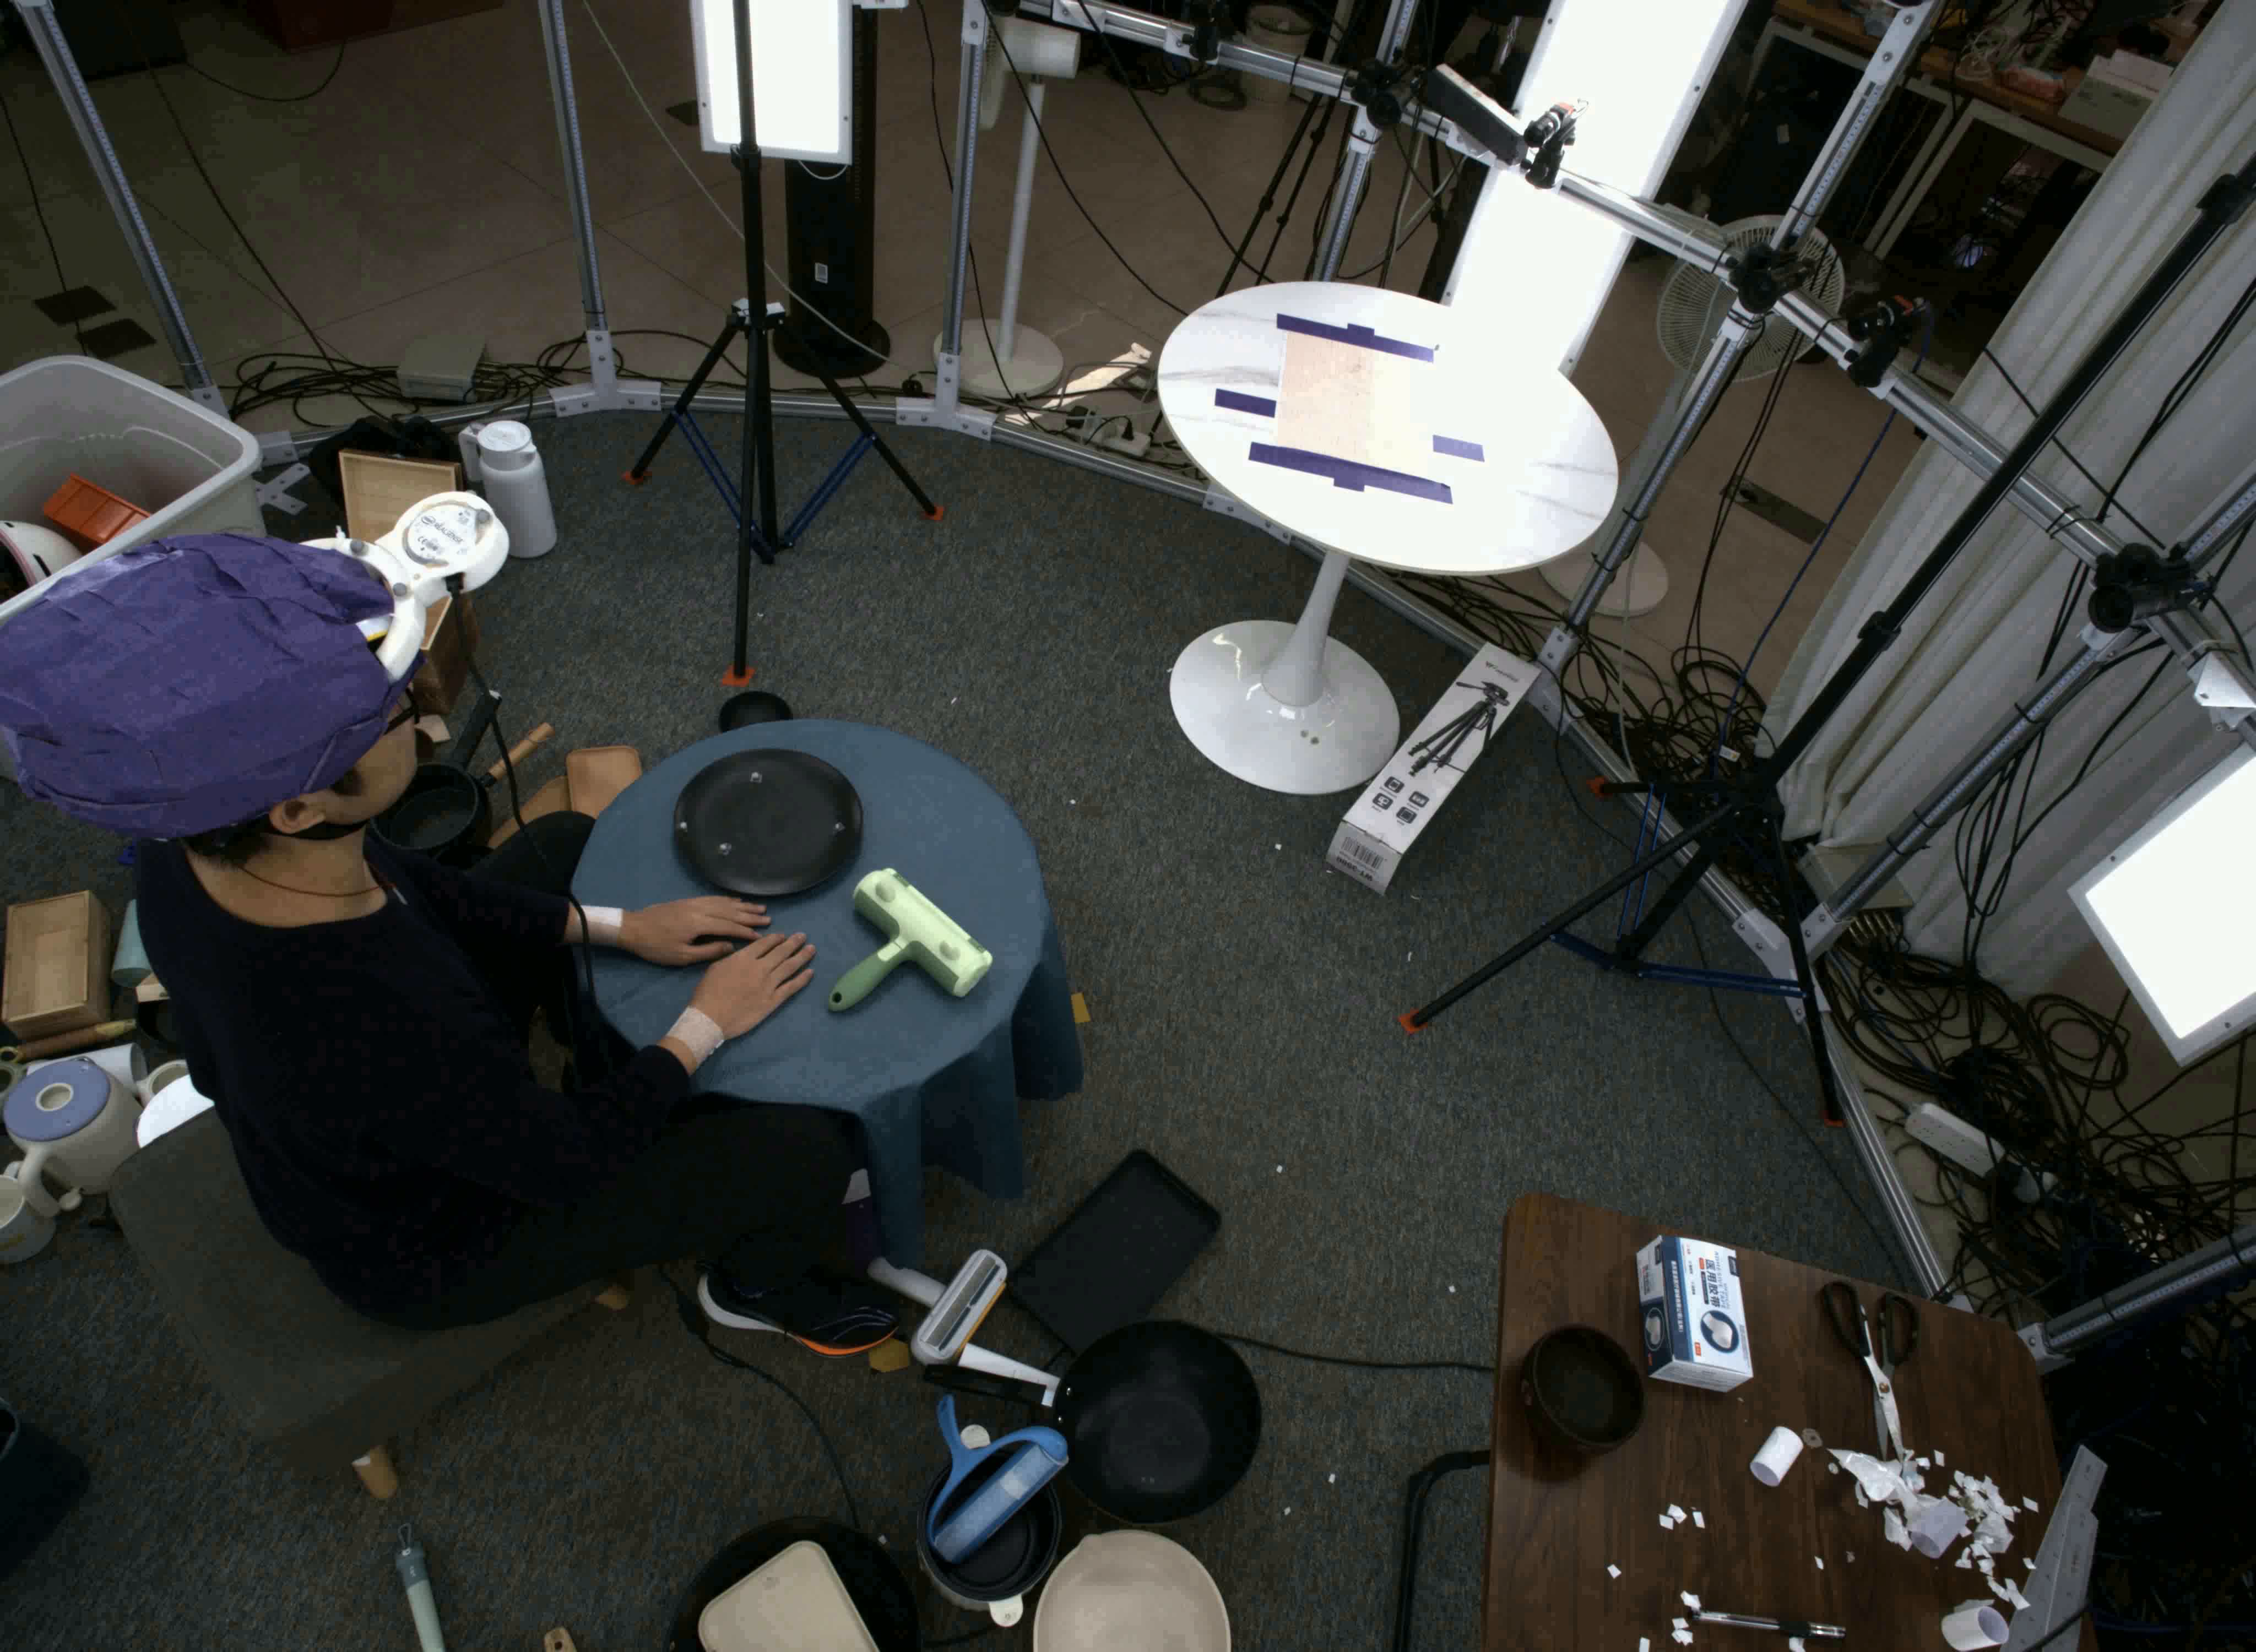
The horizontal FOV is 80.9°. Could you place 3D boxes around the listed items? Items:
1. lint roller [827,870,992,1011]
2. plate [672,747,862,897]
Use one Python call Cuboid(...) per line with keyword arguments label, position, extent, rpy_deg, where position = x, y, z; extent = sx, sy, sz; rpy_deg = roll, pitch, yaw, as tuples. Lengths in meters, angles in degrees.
Cuboid(label="lint roller", position=(-0.294, 0.150, 1.580), extent=(0.194, 0.084, 0.184), rpy_deg=(38, 47, 16))
Cuboid(label="plate", position=(-0.470, -0.005, 1.690), extent=(0.244, 0.024, 0.240), rpy_deg=(8, 52, -9))
